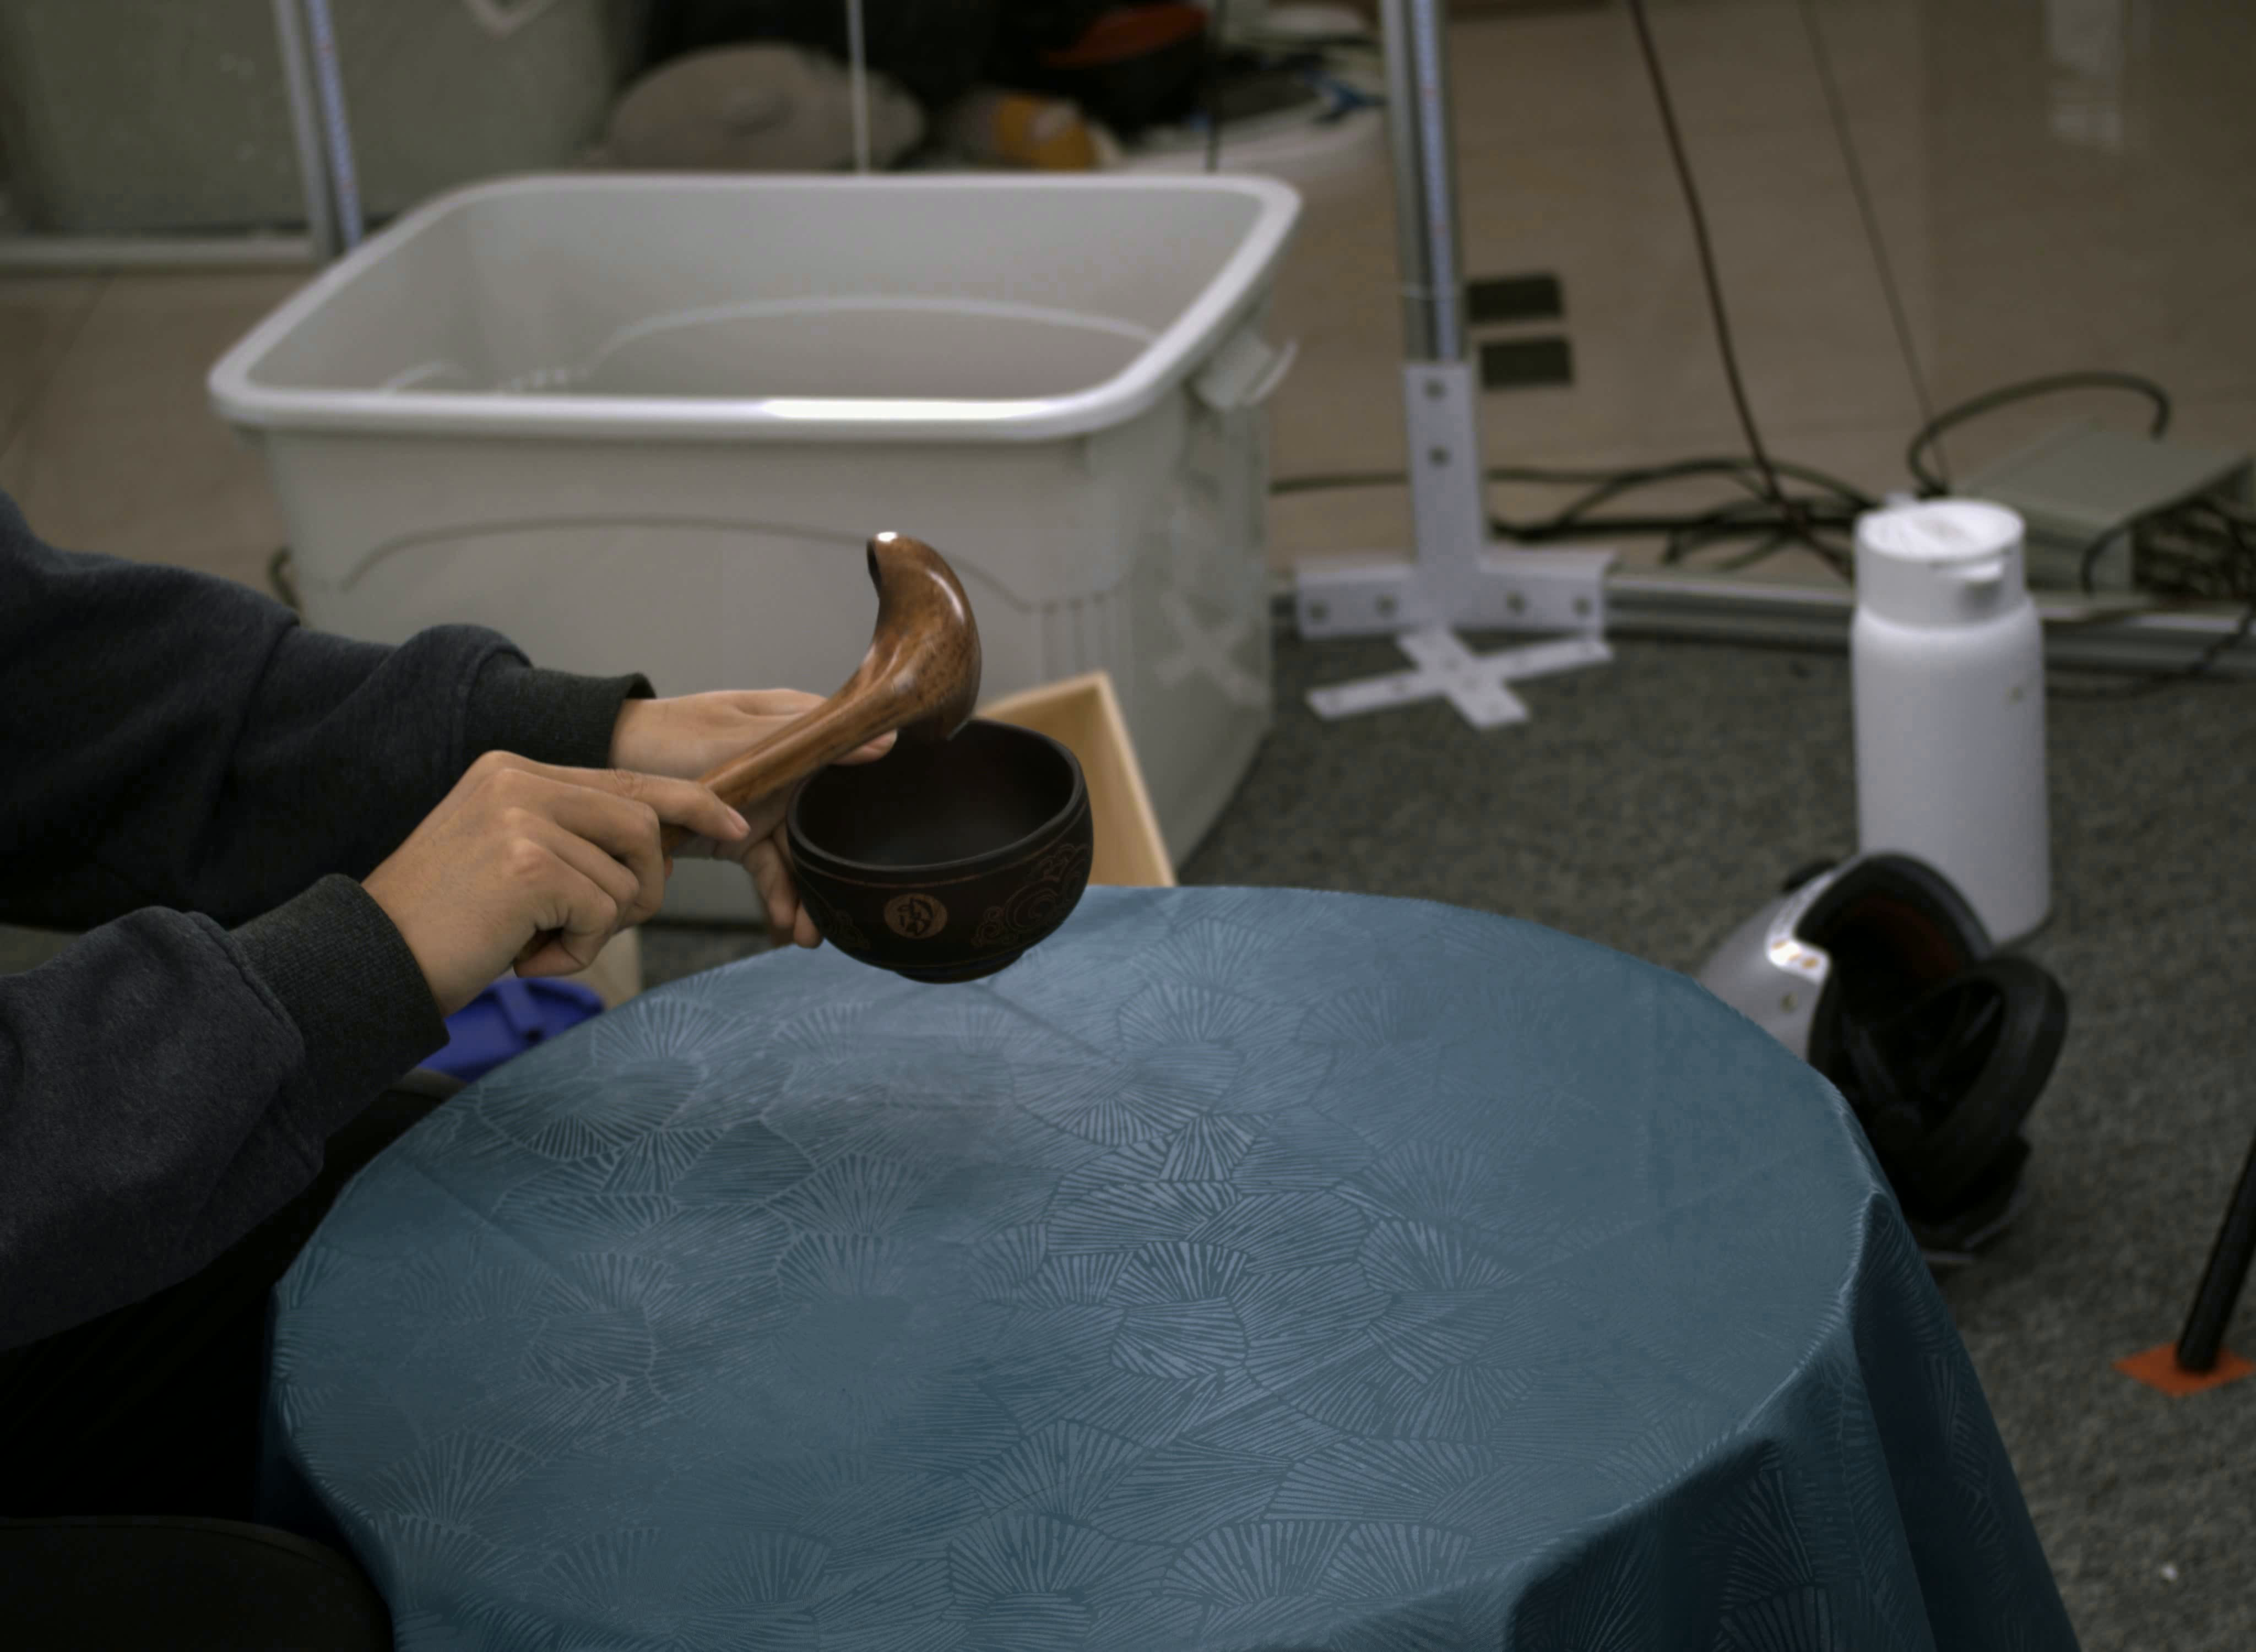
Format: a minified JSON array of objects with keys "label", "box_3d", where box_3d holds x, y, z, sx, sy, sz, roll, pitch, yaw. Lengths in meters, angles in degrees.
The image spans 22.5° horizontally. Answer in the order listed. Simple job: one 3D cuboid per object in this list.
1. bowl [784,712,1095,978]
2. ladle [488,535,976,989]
[{"label":"bowl","box_3d":[-0.070,0.014,2.165,0.118,0.071,0.116,-6,31,3]},{"label":"ladle","box_3d":[-0.150,-0.022,2.036,0.076,0.083,0.271,8,33,45]}]
